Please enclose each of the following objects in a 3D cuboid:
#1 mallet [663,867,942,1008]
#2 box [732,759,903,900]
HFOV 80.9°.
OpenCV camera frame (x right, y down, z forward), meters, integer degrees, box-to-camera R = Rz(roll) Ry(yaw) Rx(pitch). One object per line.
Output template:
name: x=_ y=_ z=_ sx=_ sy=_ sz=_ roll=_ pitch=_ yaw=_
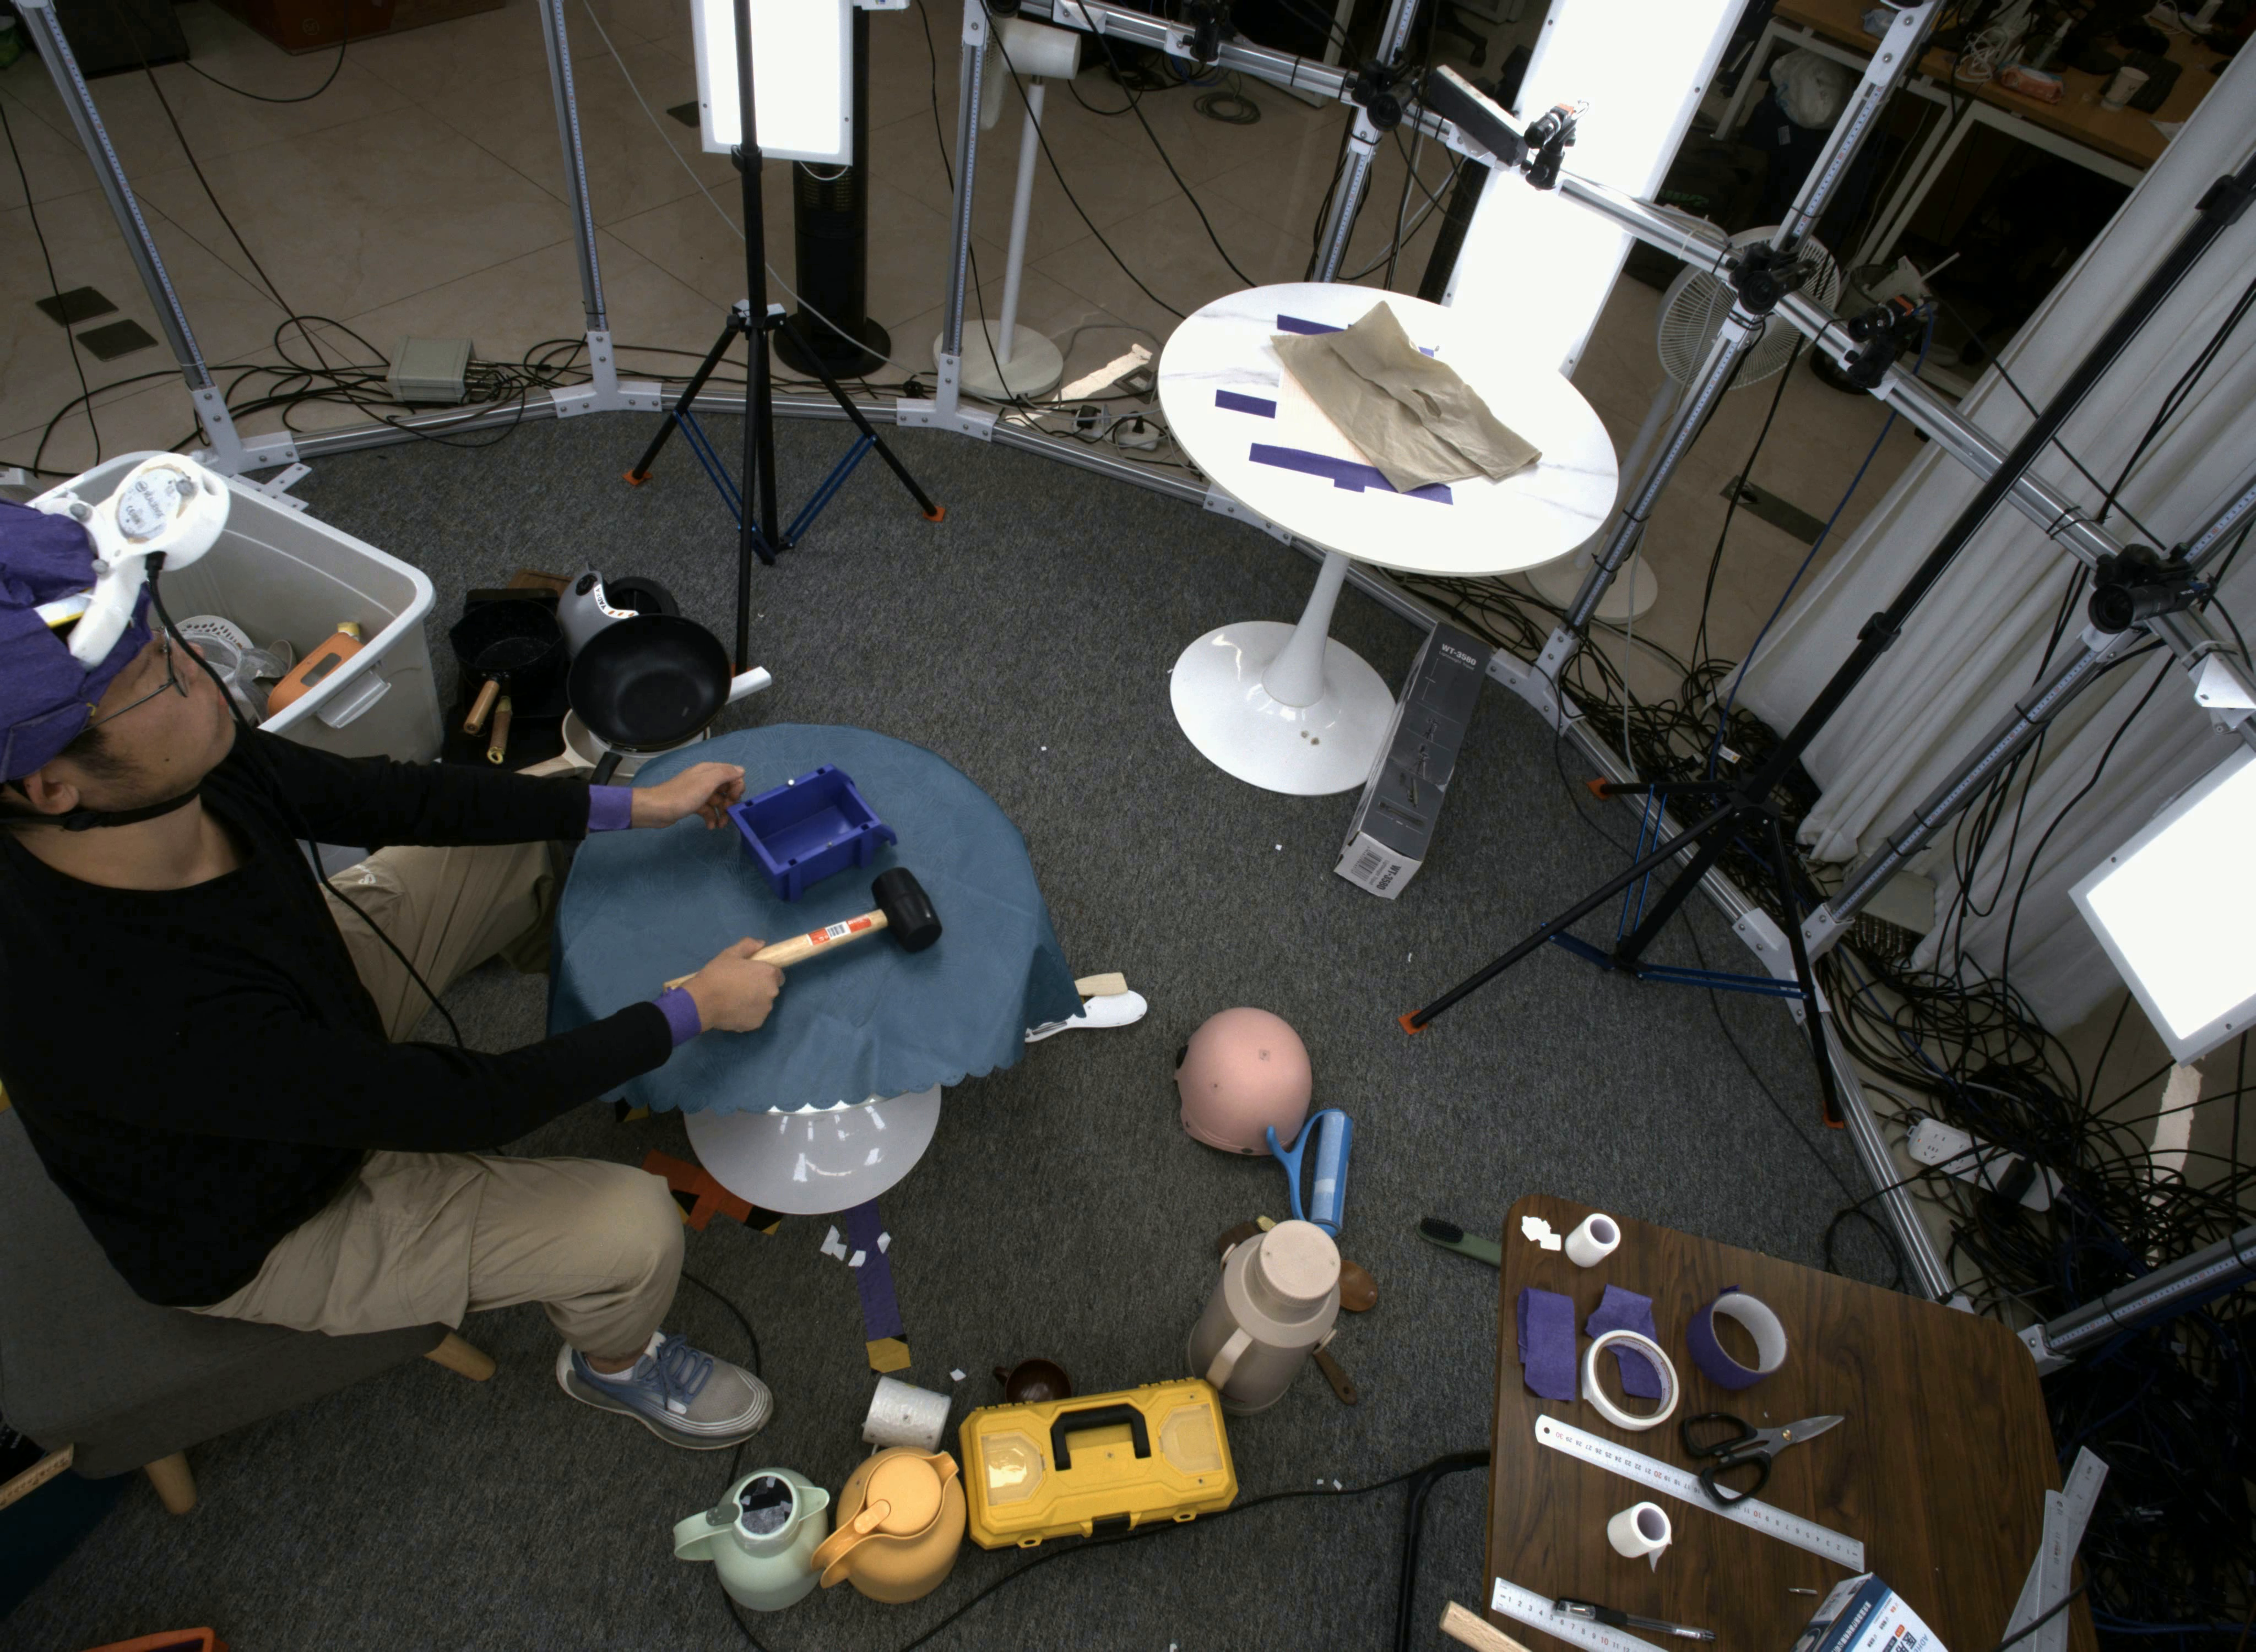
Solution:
mallet: x=-0.393 y=0.140 z=1.571 sx=0.341 sy=0.065 sz=0.099 roll=-17 pitch=55 yaw=-30
box: x=-0.399 y=-0.001 z=1.676 sx=0.180 sy=0.083 sz=0.121 roll=-29 pitch=65 yaw=-27
